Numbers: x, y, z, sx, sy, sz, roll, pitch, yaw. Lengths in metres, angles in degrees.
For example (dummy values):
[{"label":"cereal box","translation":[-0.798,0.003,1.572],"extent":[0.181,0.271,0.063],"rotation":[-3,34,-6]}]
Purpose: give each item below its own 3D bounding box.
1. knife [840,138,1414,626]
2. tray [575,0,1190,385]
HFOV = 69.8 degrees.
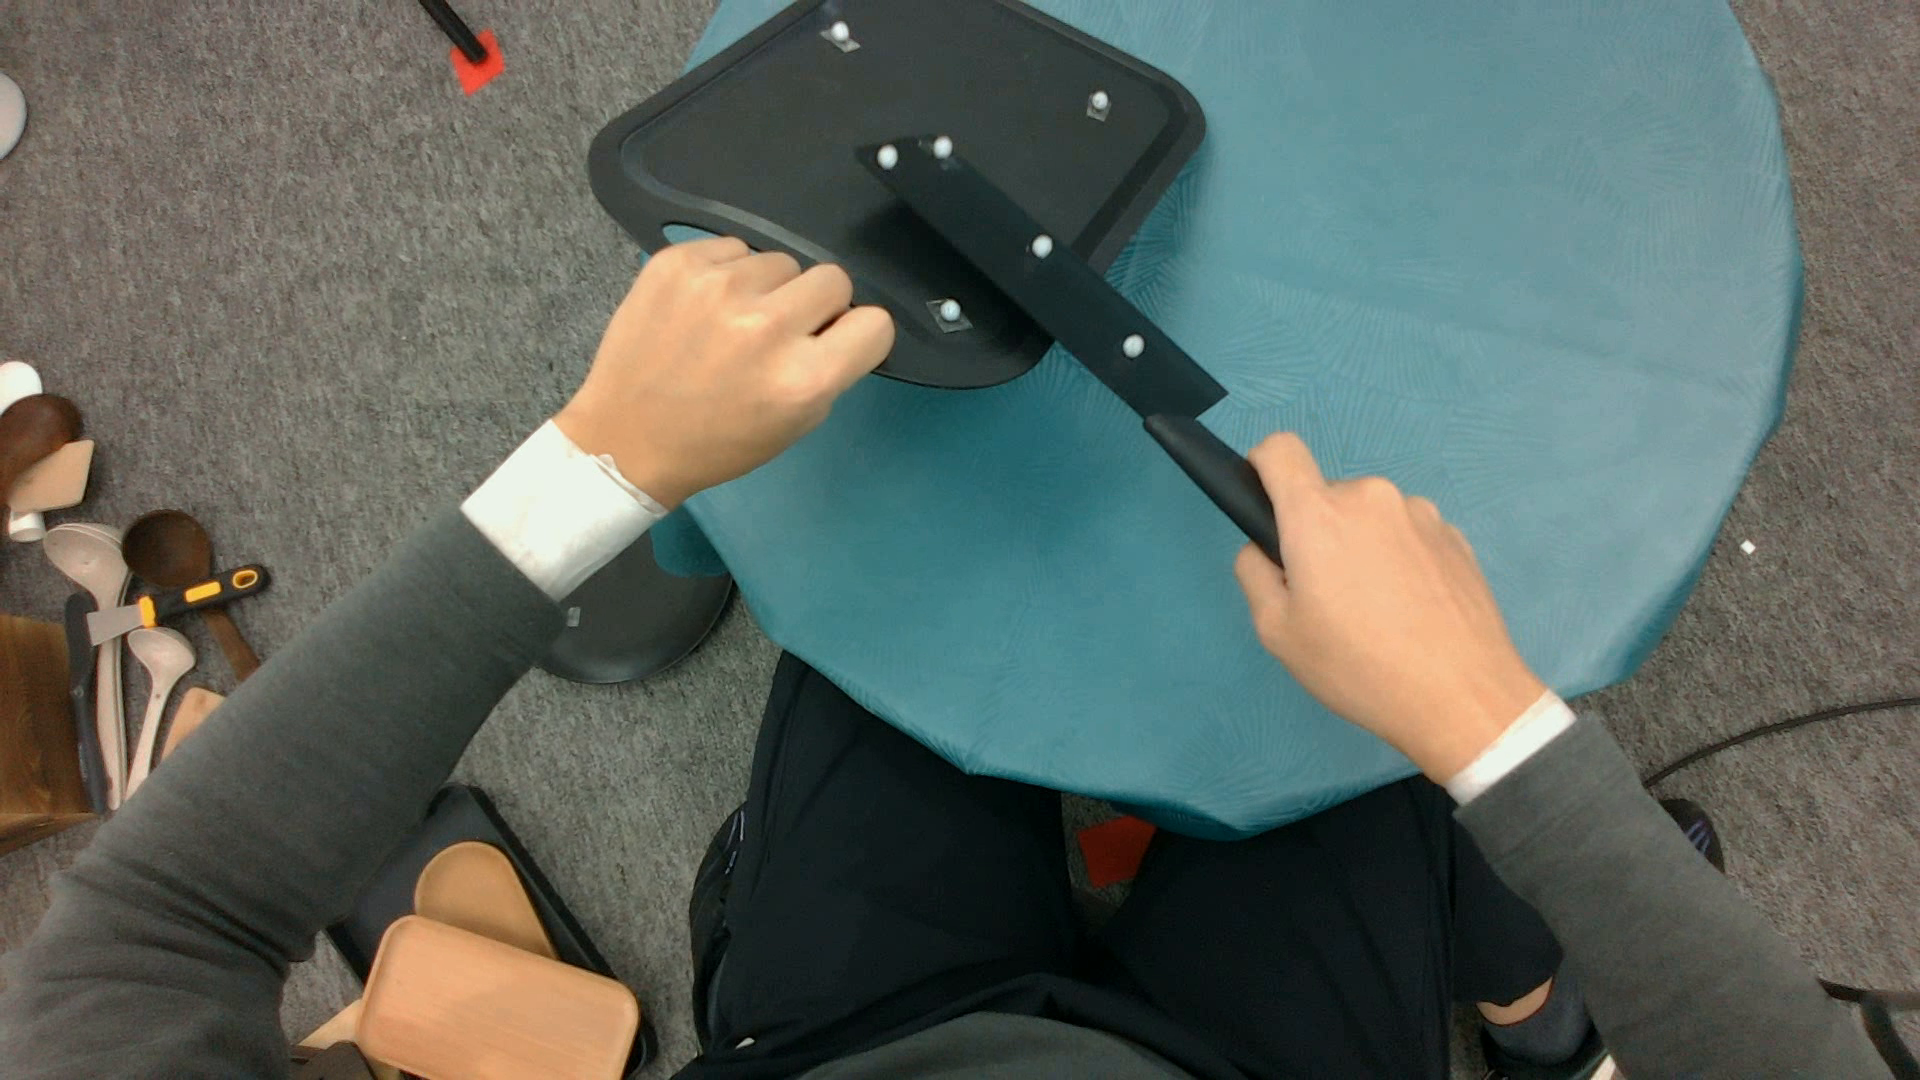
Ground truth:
[{"label":"knife","translation":[0.070,-0.074,0.580],"extent":[0.302,0.081,0.021],"rotation":[45,132,14]},{"label":"tray","translation":[-0.022,-0.186,0.642],"extent":[0.211,0.010,0.327],"rotation":[29,47,6]}]
